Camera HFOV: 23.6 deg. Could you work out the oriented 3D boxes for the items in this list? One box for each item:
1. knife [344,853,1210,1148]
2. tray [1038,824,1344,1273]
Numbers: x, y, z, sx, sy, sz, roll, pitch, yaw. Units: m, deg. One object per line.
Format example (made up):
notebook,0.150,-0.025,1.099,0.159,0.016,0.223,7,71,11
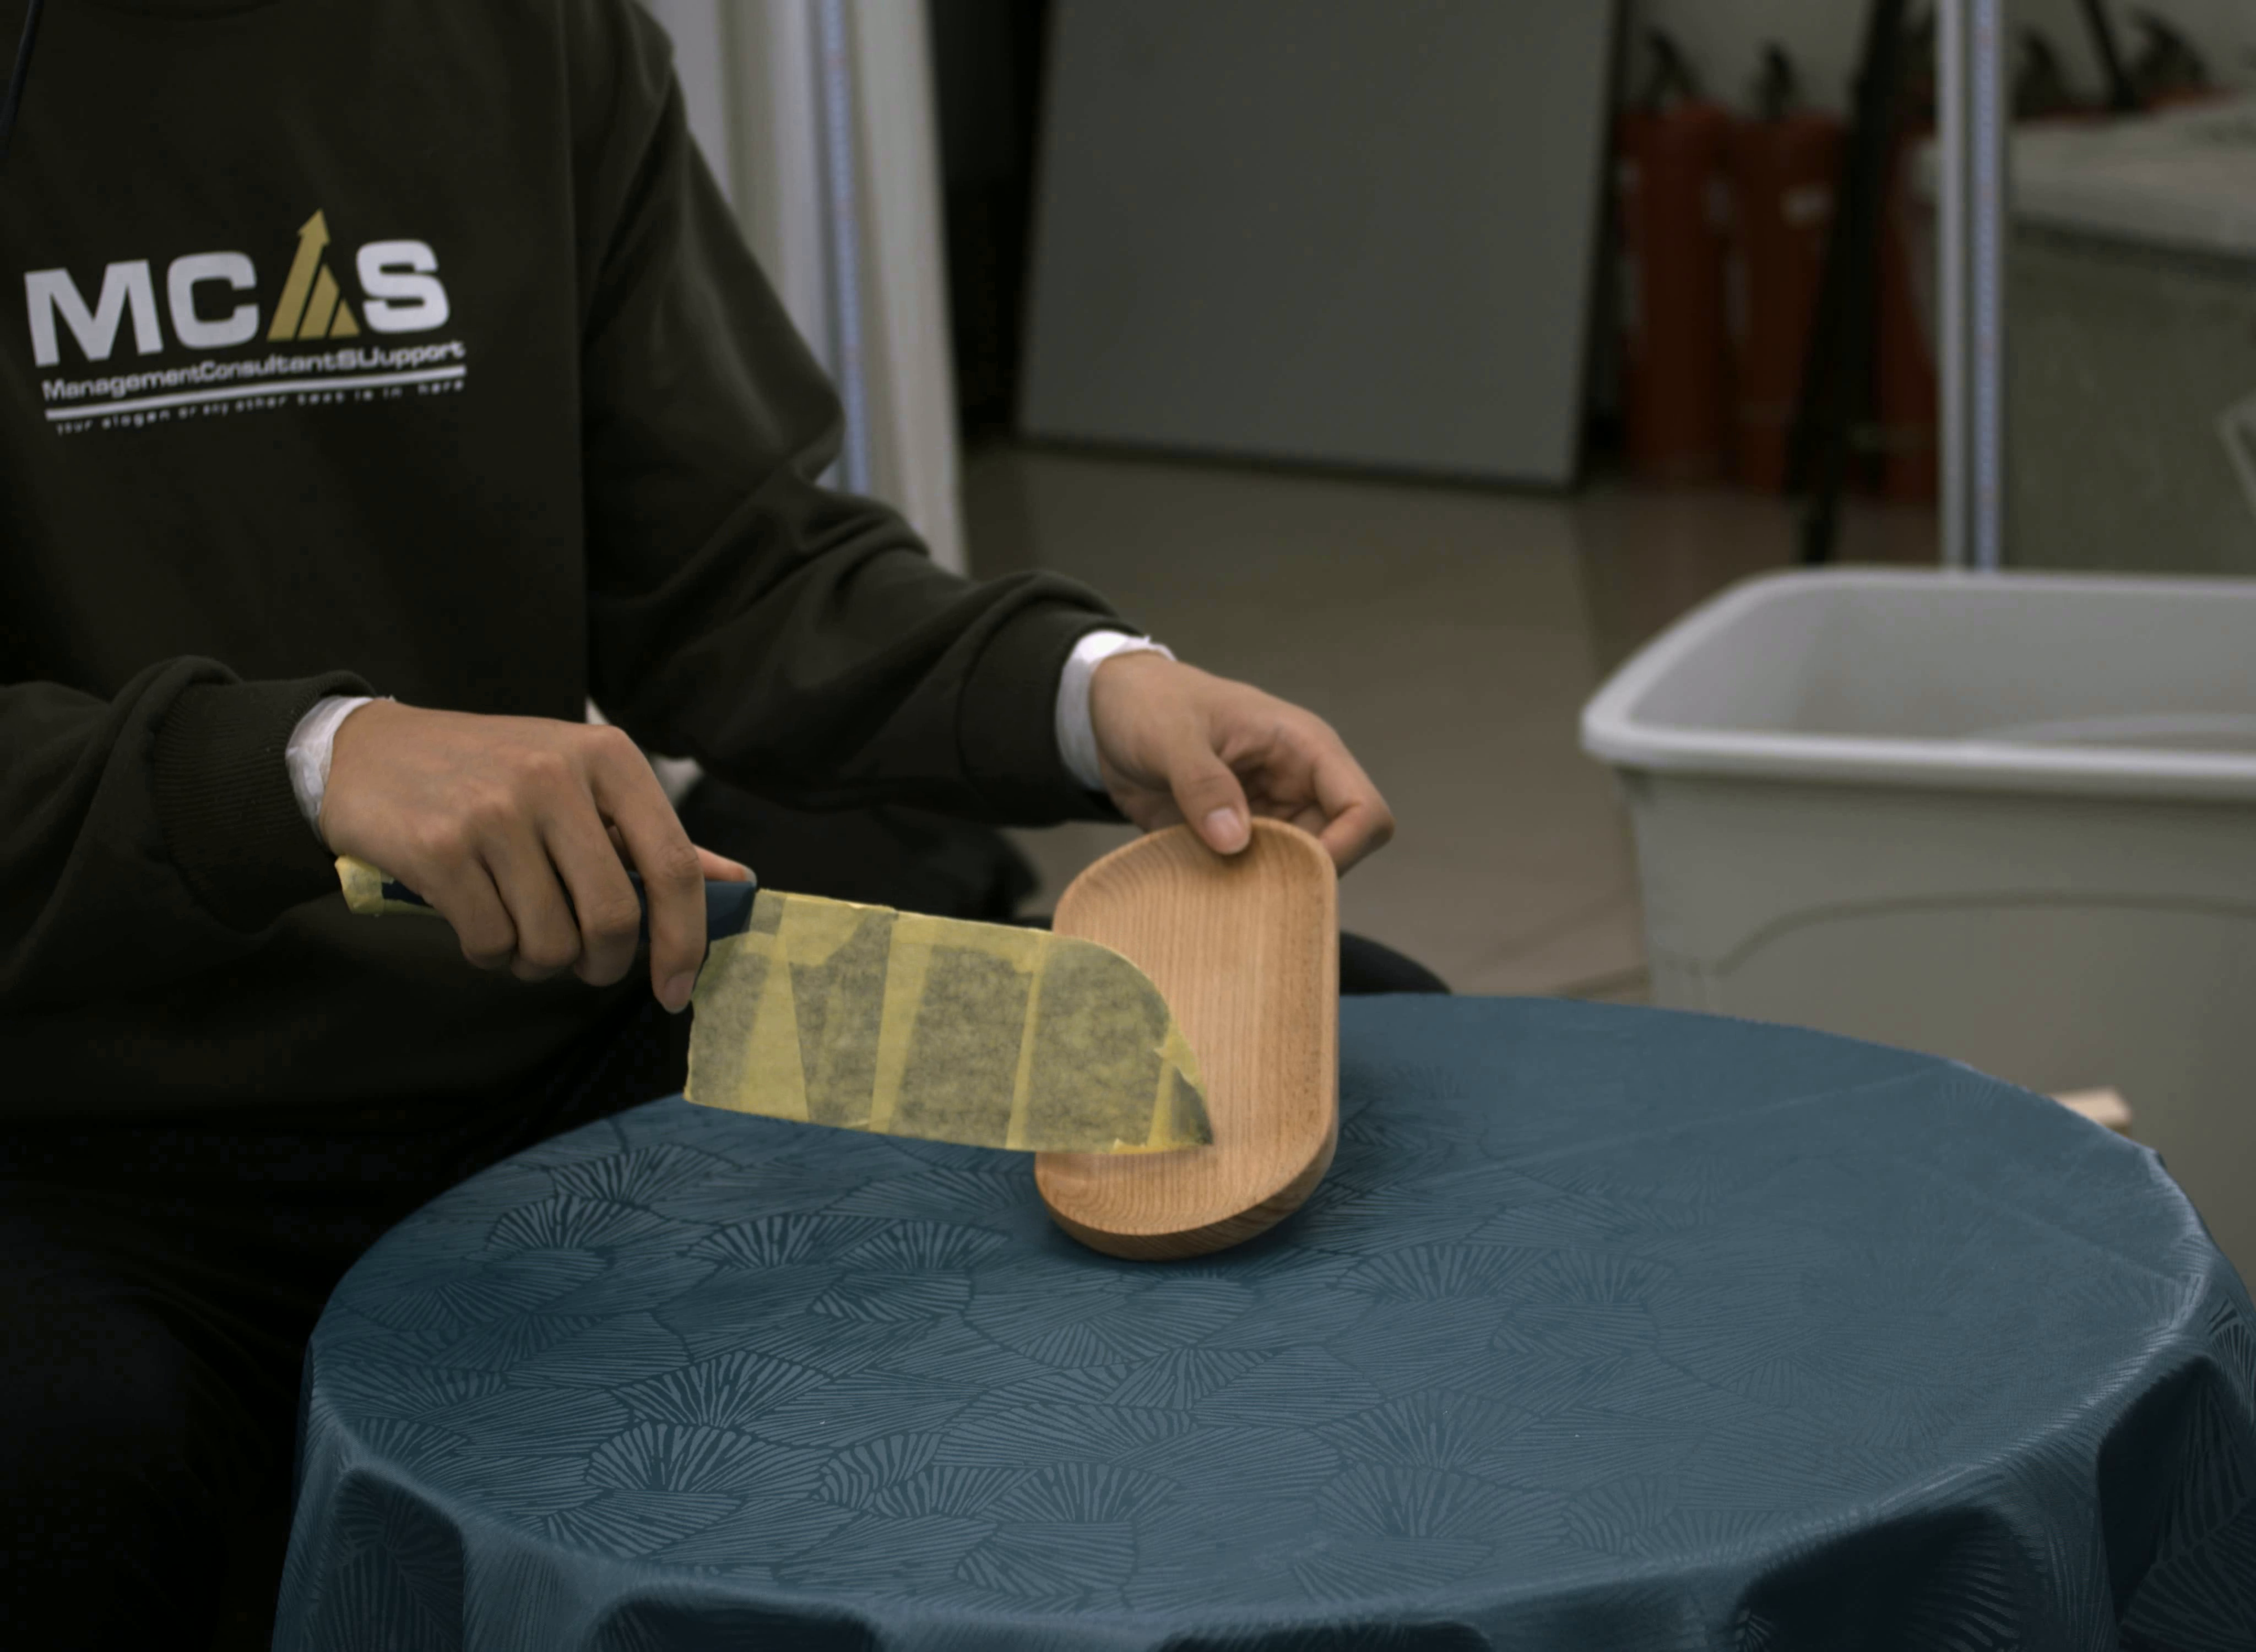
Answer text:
knife,-0.113,0.055,1.735,0.286,0.082,0.027,11,-1,3
tray,0.023,0.071,1.784,0.101,0.020,0.232,-13,34,11
